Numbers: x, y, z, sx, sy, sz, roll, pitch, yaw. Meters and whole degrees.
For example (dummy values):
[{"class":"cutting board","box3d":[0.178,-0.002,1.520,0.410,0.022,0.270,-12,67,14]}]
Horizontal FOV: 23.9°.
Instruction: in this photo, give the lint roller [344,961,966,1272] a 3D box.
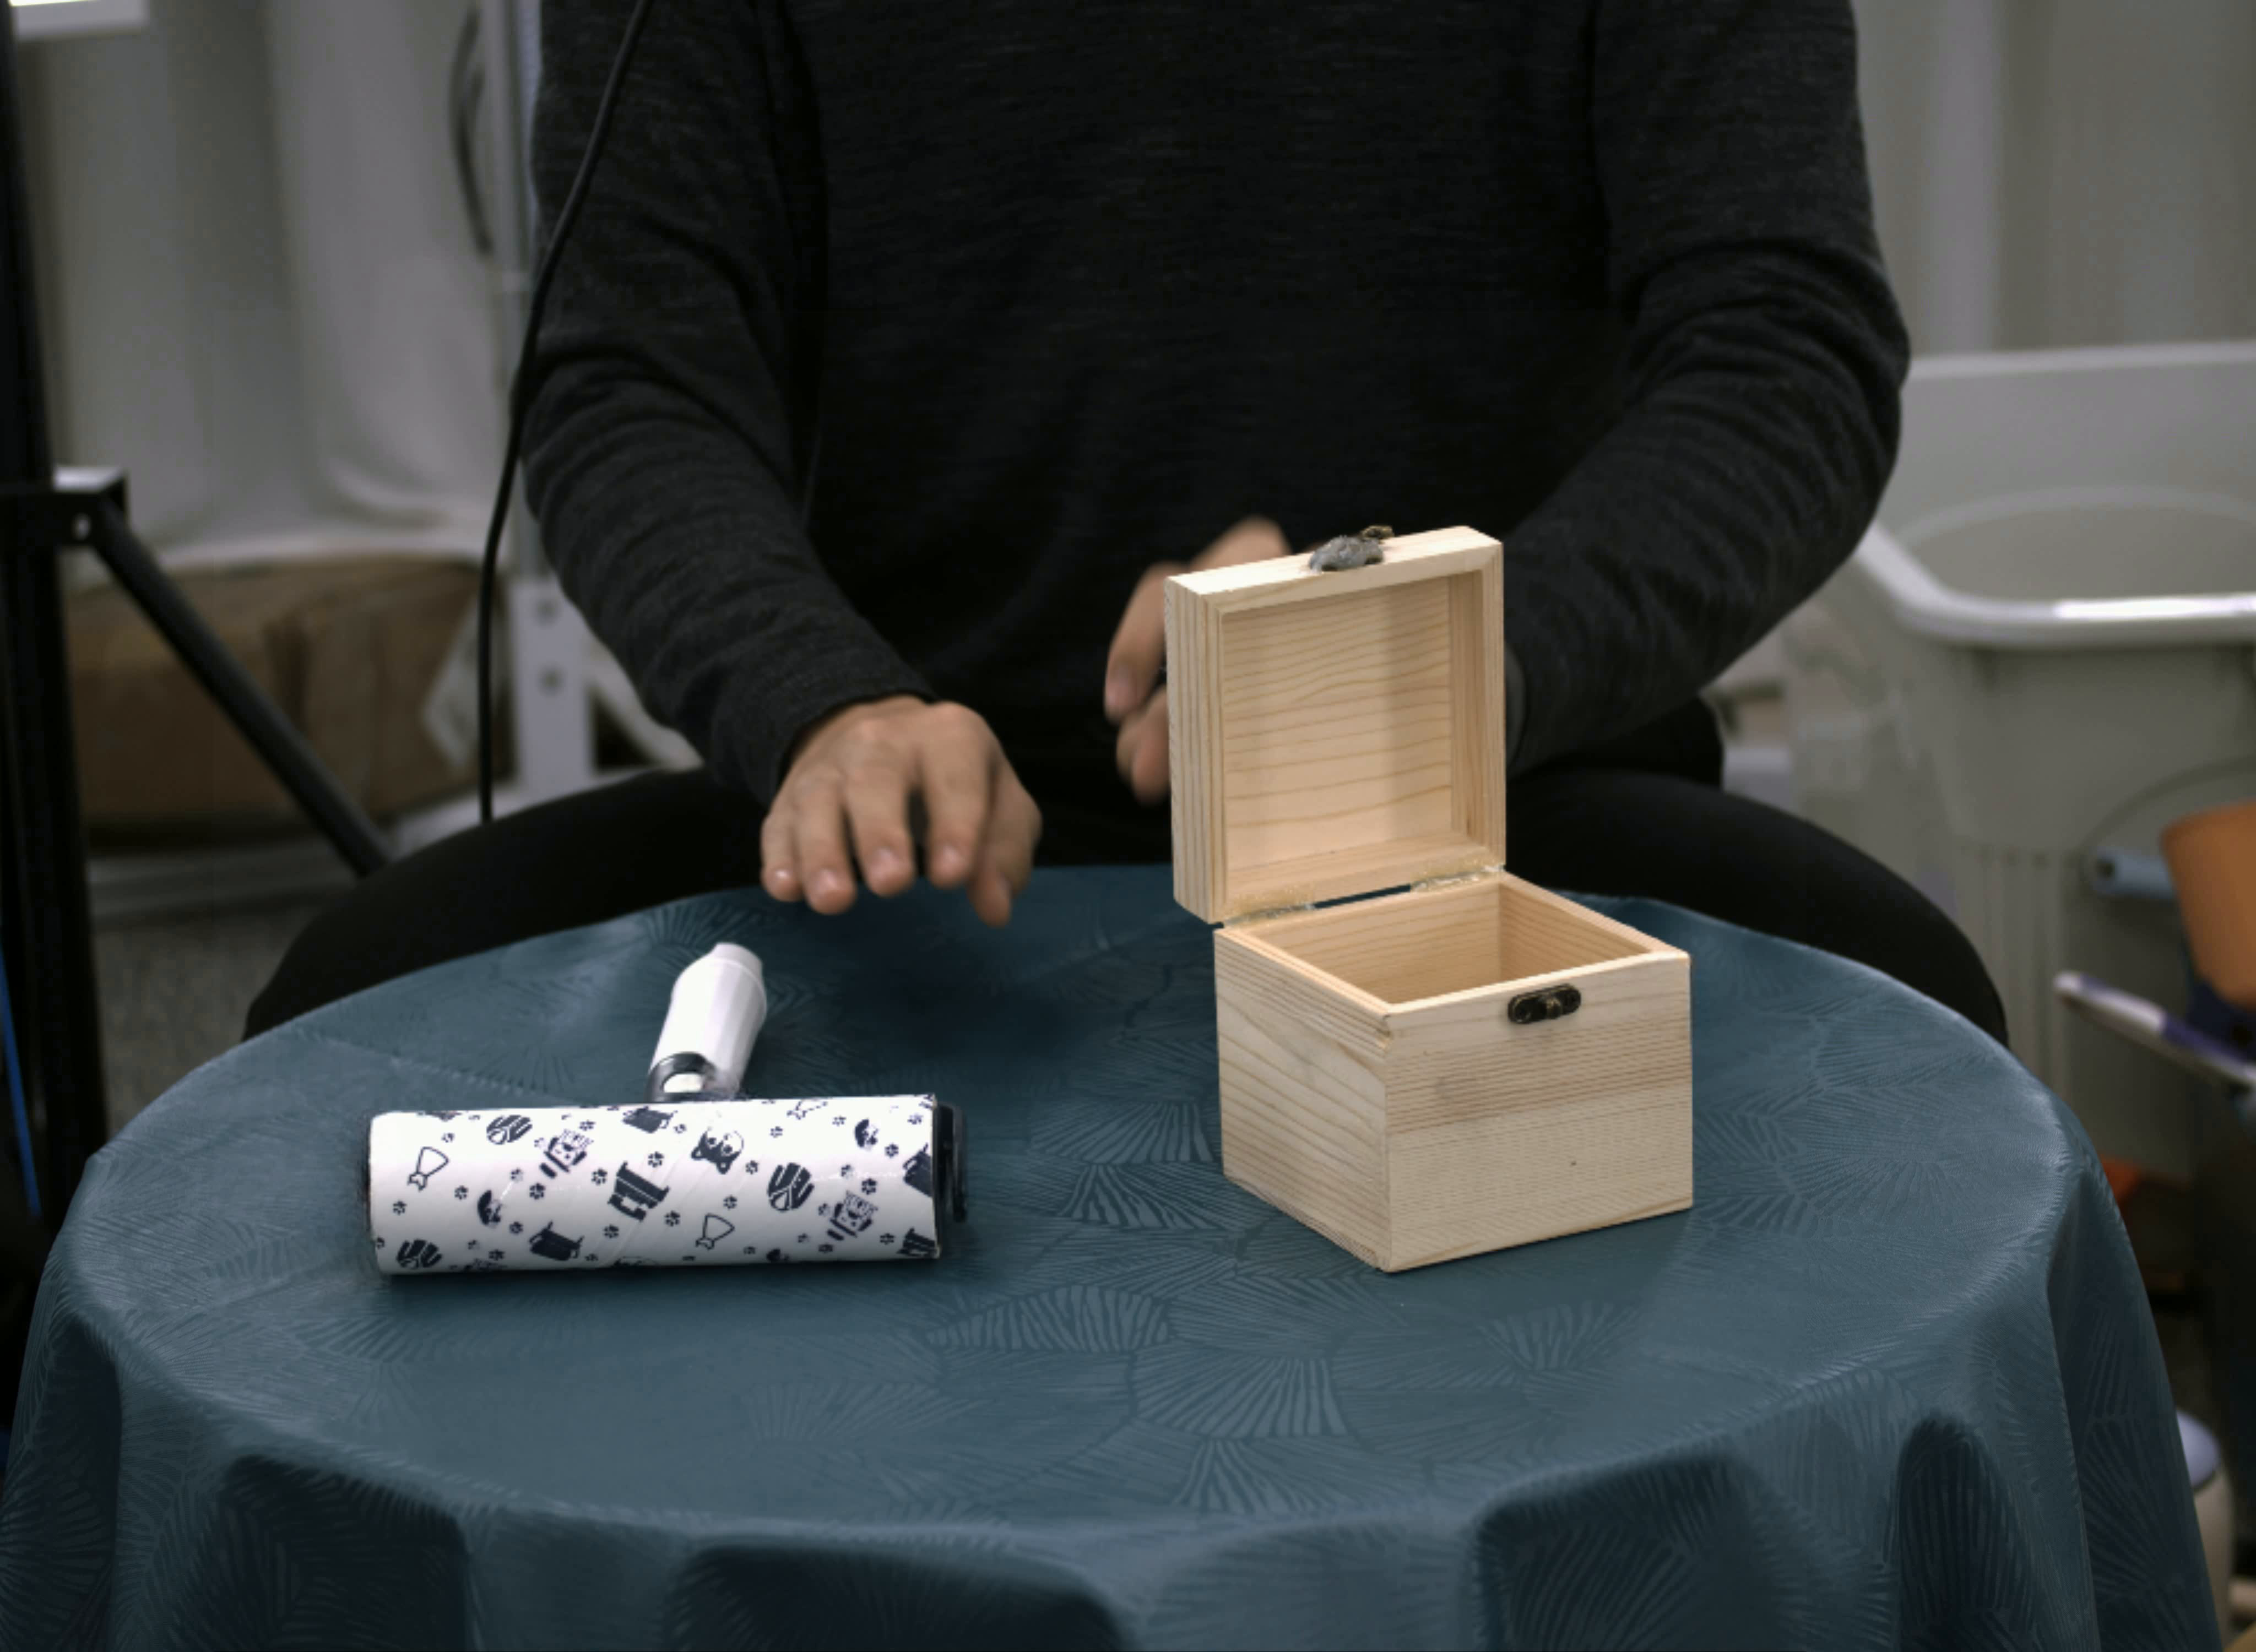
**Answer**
[{"class":"lint roller","box3d":[-0.134,0.076,1.614,0.176,0.050,0.248,-3,15,2]}]

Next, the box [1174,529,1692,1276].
[{"class":"box","box3d":[0.088,0.018,1.527,0.100,0.184,0.136,-8,15,-25]}]
